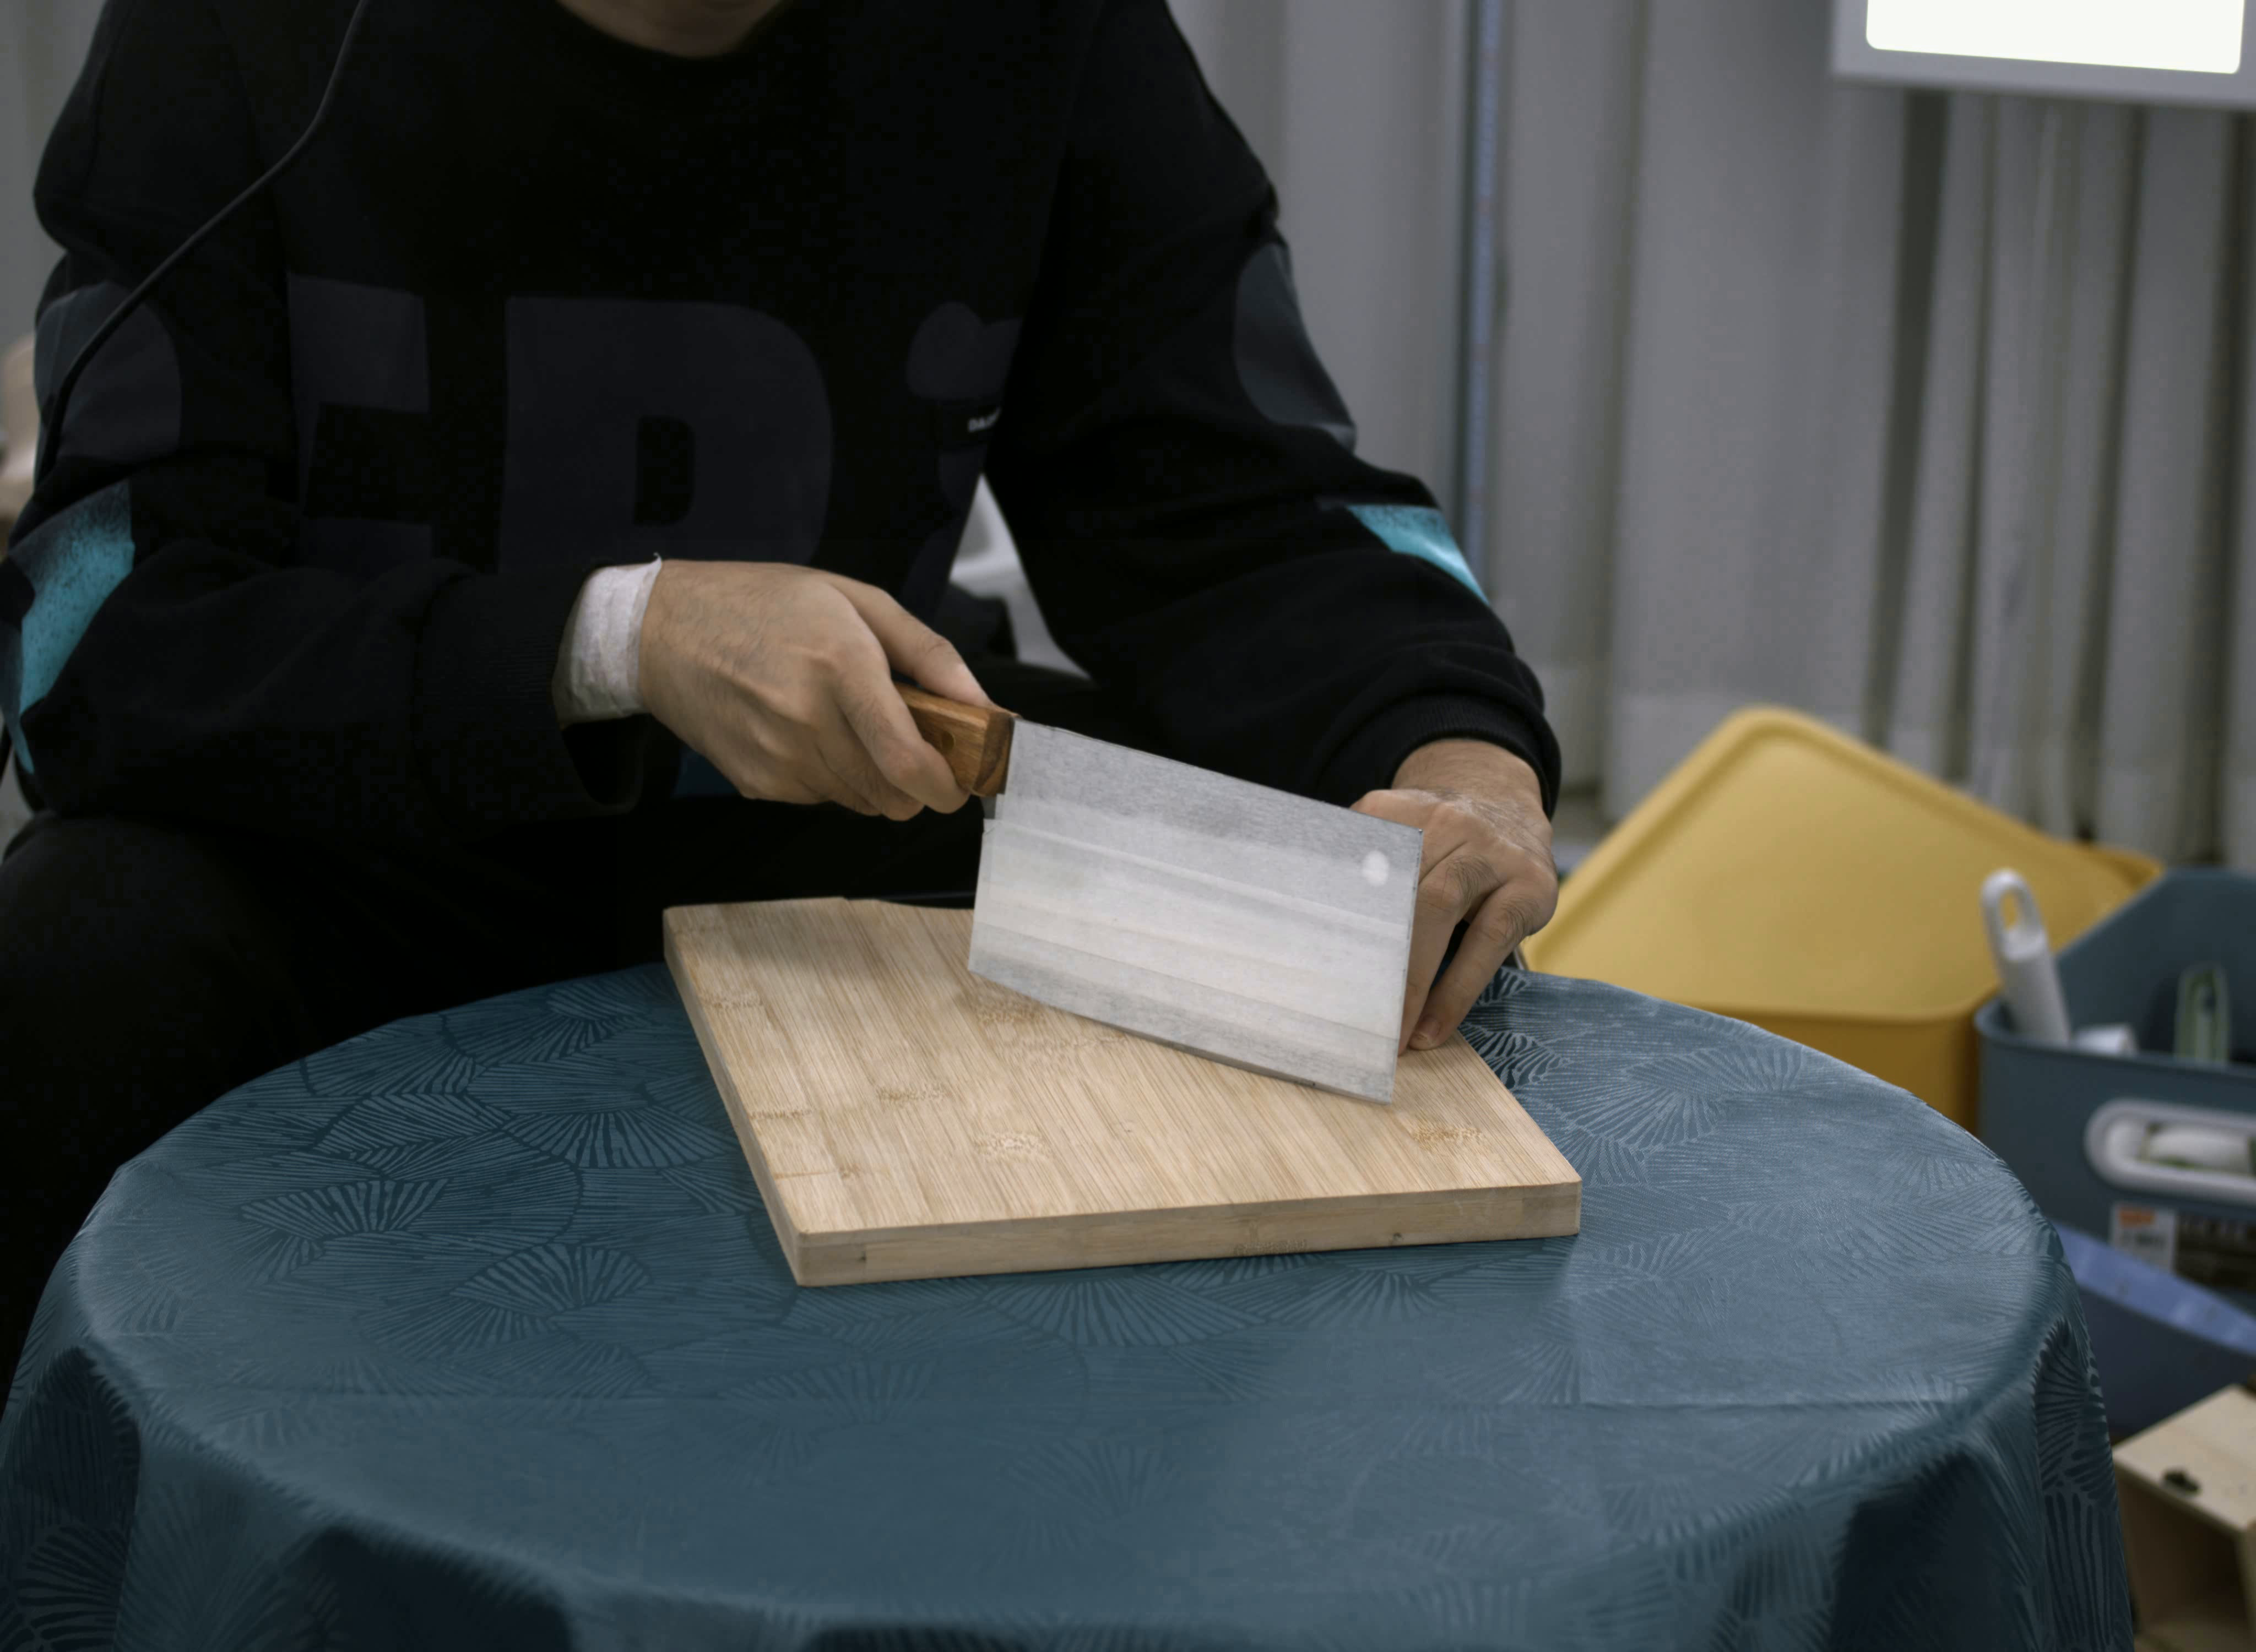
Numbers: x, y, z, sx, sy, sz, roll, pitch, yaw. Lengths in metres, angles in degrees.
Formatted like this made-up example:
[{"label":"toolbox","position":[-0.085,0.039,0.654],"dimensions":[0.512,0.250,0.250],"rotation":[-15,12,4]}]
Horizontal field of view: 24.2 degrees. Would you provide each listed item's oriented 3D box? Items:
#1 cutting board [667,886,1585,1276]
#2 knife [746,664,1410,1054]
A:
[{"label":"cutting board","position":[-0.012,0.075,1.724],"dimensions":[0.251,0.024,0.345],"rotation":[-3,16,-12]},{"label":"knife","position":[-0.022,0.011,1.728],"dimensions":[0.301,0.093,0.021],"rotation":[16,16,42]}]
